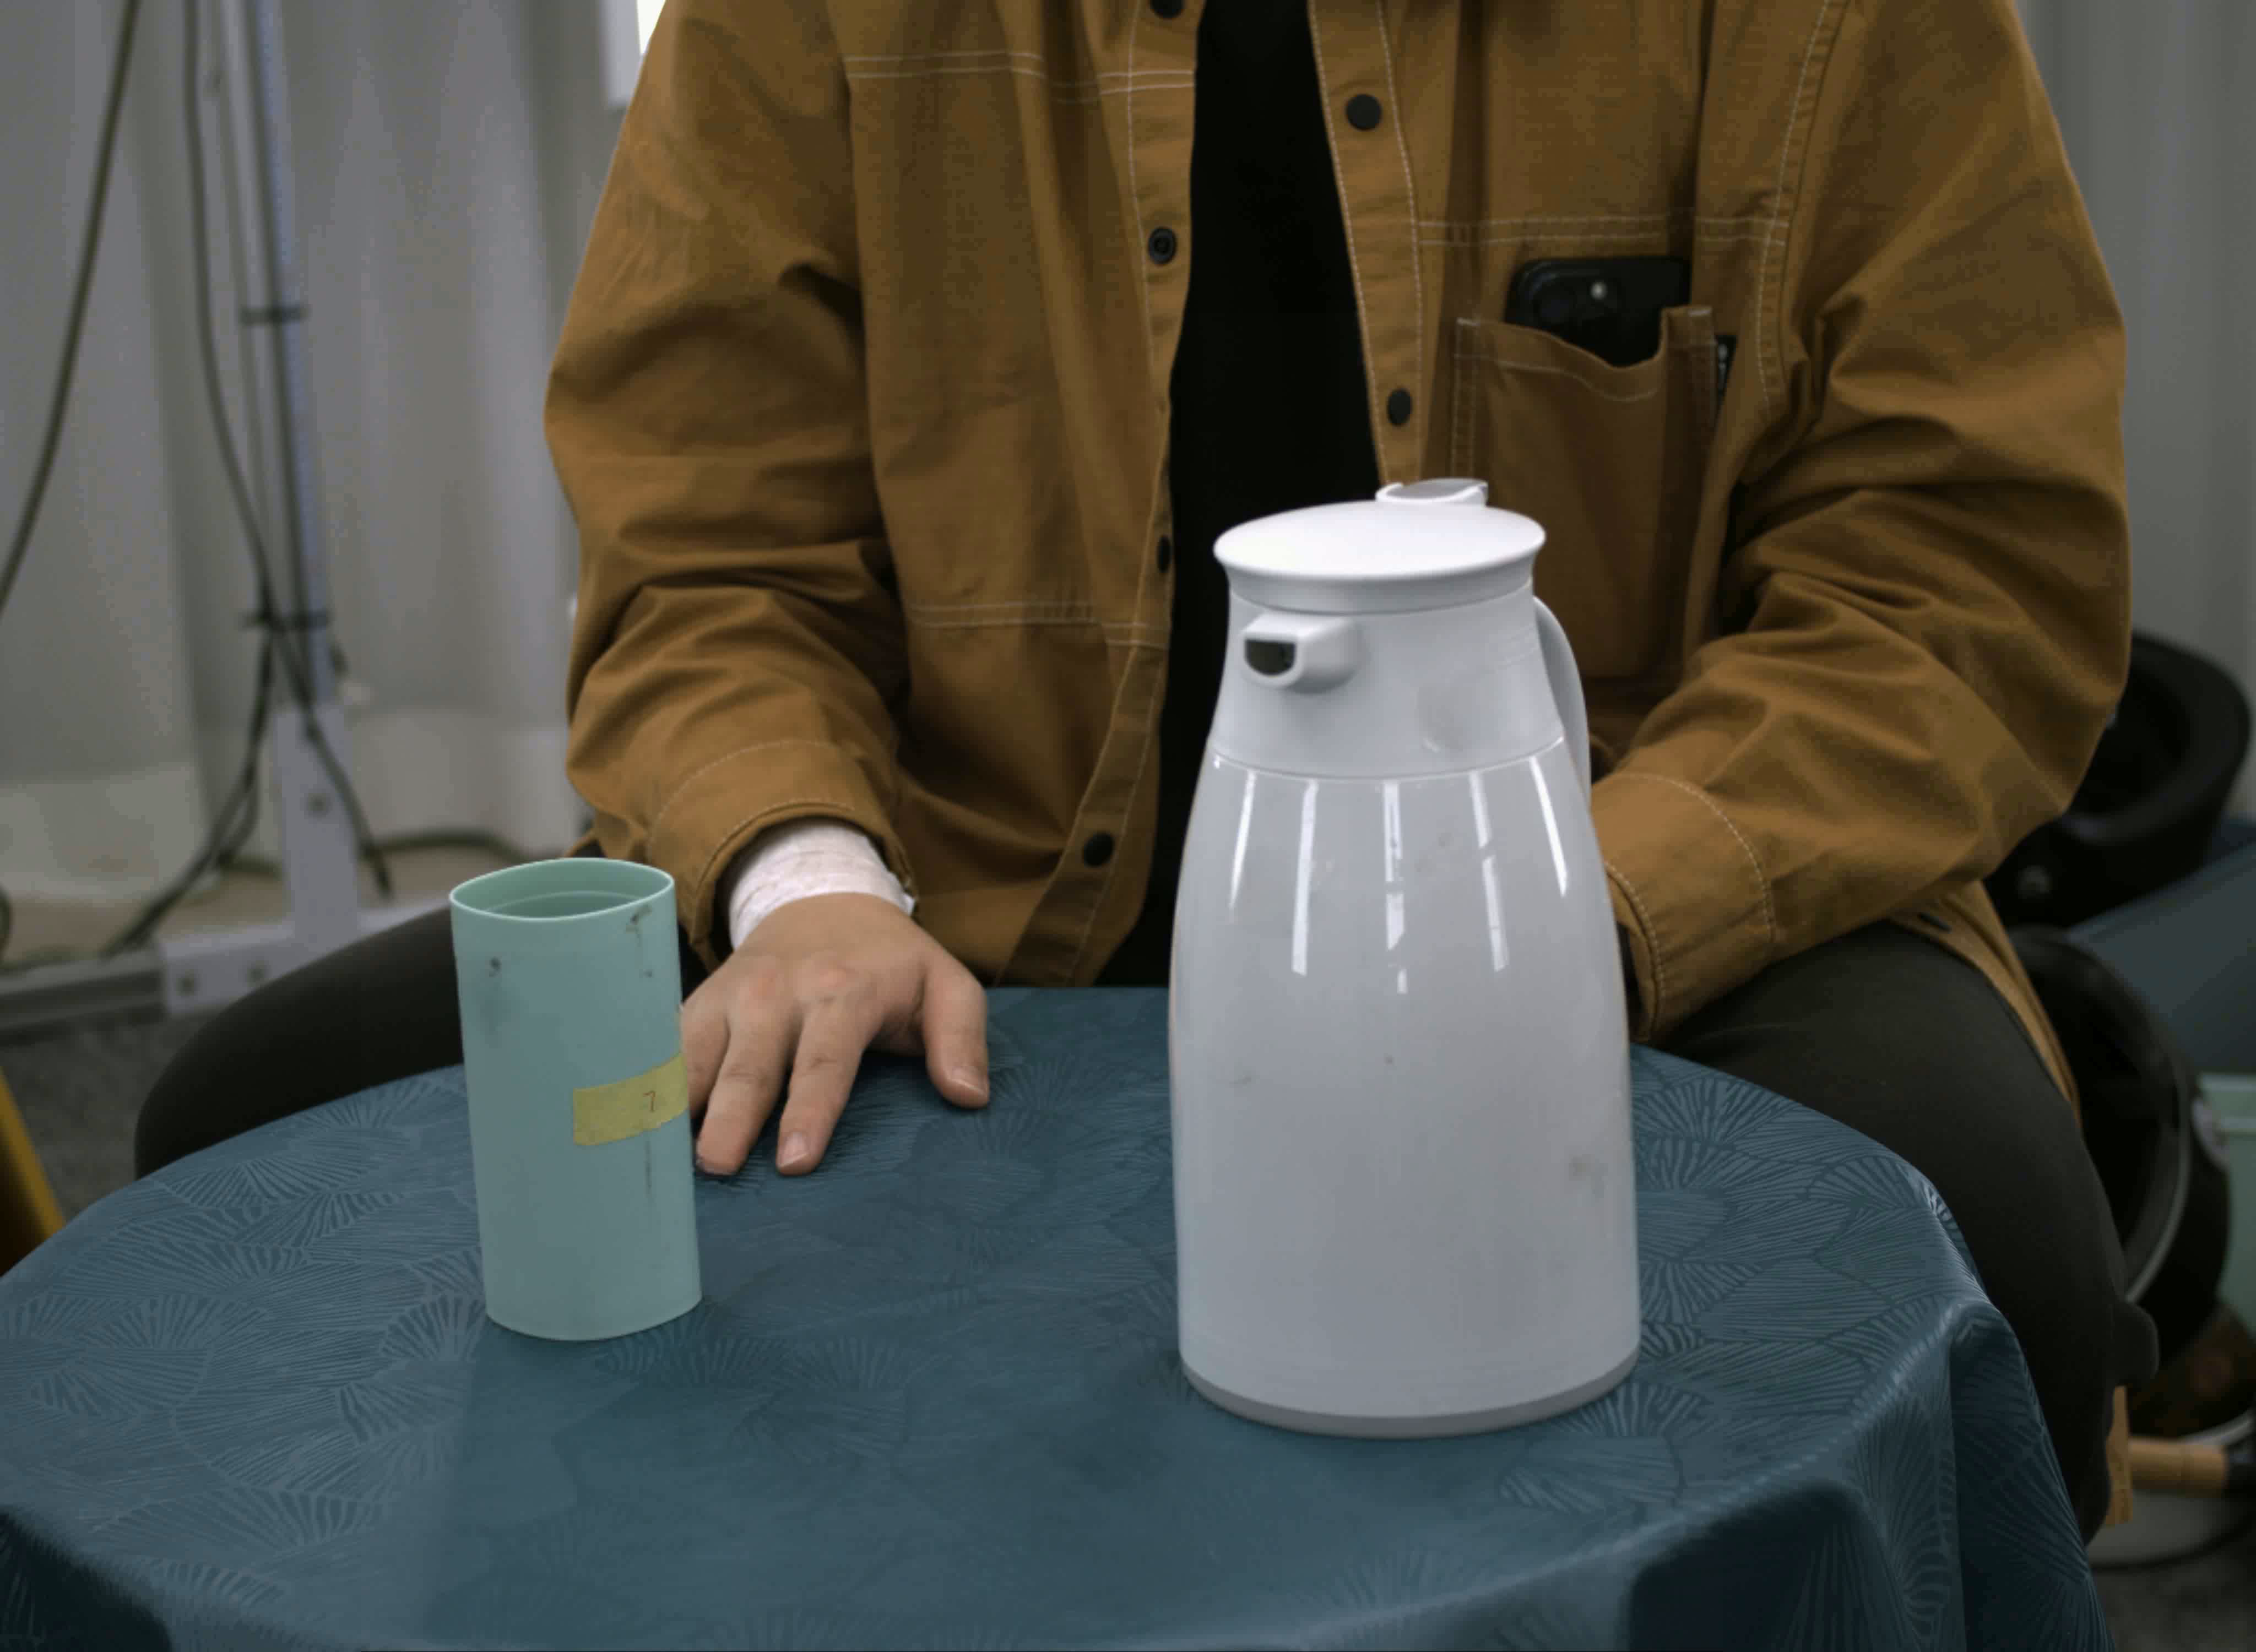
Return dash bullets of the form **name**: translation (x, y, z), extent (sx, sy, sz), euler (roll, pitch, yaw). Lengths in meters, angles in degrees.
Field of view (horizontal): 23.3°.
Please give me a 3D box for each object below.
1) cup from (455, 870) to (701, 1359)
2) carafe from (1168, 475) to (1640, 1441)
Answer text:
- **cup**: translation (-0.163, 0.084, 1.622), extent (0.066, 0.132, 0.067), euler (-2, 13, 0)
- **carafe**: translation (0.083, 0.028, 1.547), extent (0.133, 0.248, 0.168), euler (5, 15, 30)
